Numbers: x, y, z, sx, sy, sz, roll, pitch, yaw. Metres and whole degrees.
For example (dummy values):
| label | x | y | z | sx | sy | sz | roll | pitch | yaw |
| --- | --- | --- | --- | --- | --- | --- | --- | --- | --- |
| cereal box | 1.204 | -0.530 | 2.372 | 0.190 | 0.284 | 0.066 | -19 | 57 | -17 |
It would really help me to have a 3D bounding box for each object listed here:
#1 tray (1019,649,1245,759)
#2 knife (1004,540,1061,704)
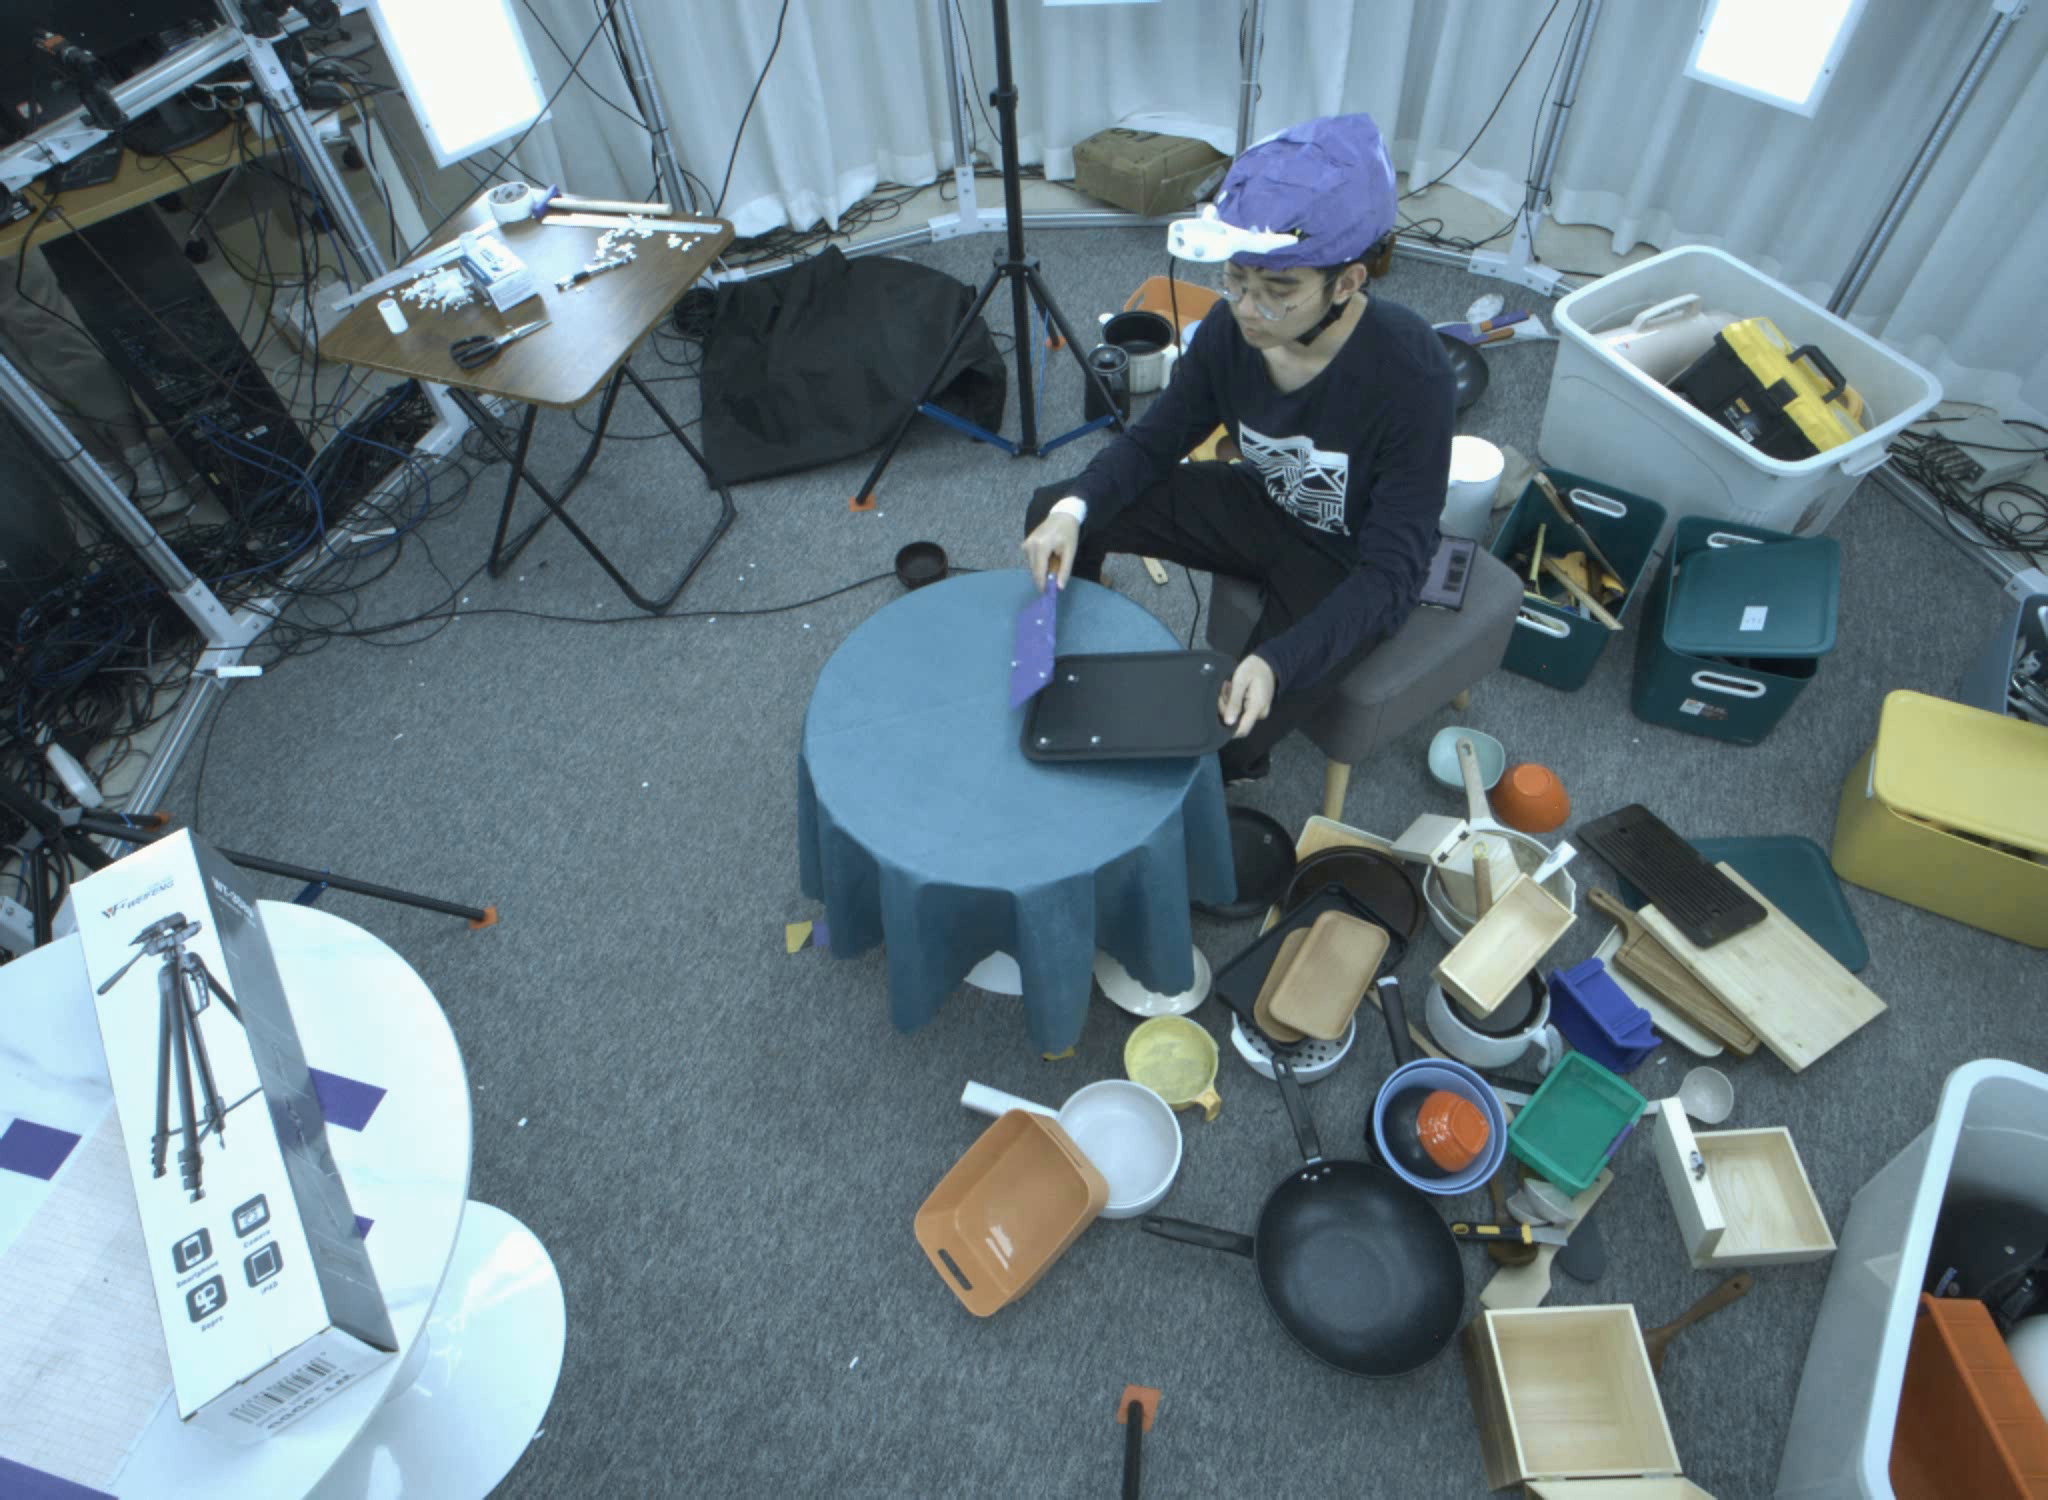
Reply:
| label | x | y | z | sx | sy | sz | roll | pitch | yaw |
| --- | --- | --- | --- | --- | --- | --- | --- | --- | --- |
| tray | 0.159 | -0.069 | 1.794 | 0.322 | 0.010 | 0.210 | 0 | 50 | 15 |
| knife | 0.012 | -0.197 | 1.850 | 0.033 | 0.103 | 0.312 | 36 | 38 | -27 |
